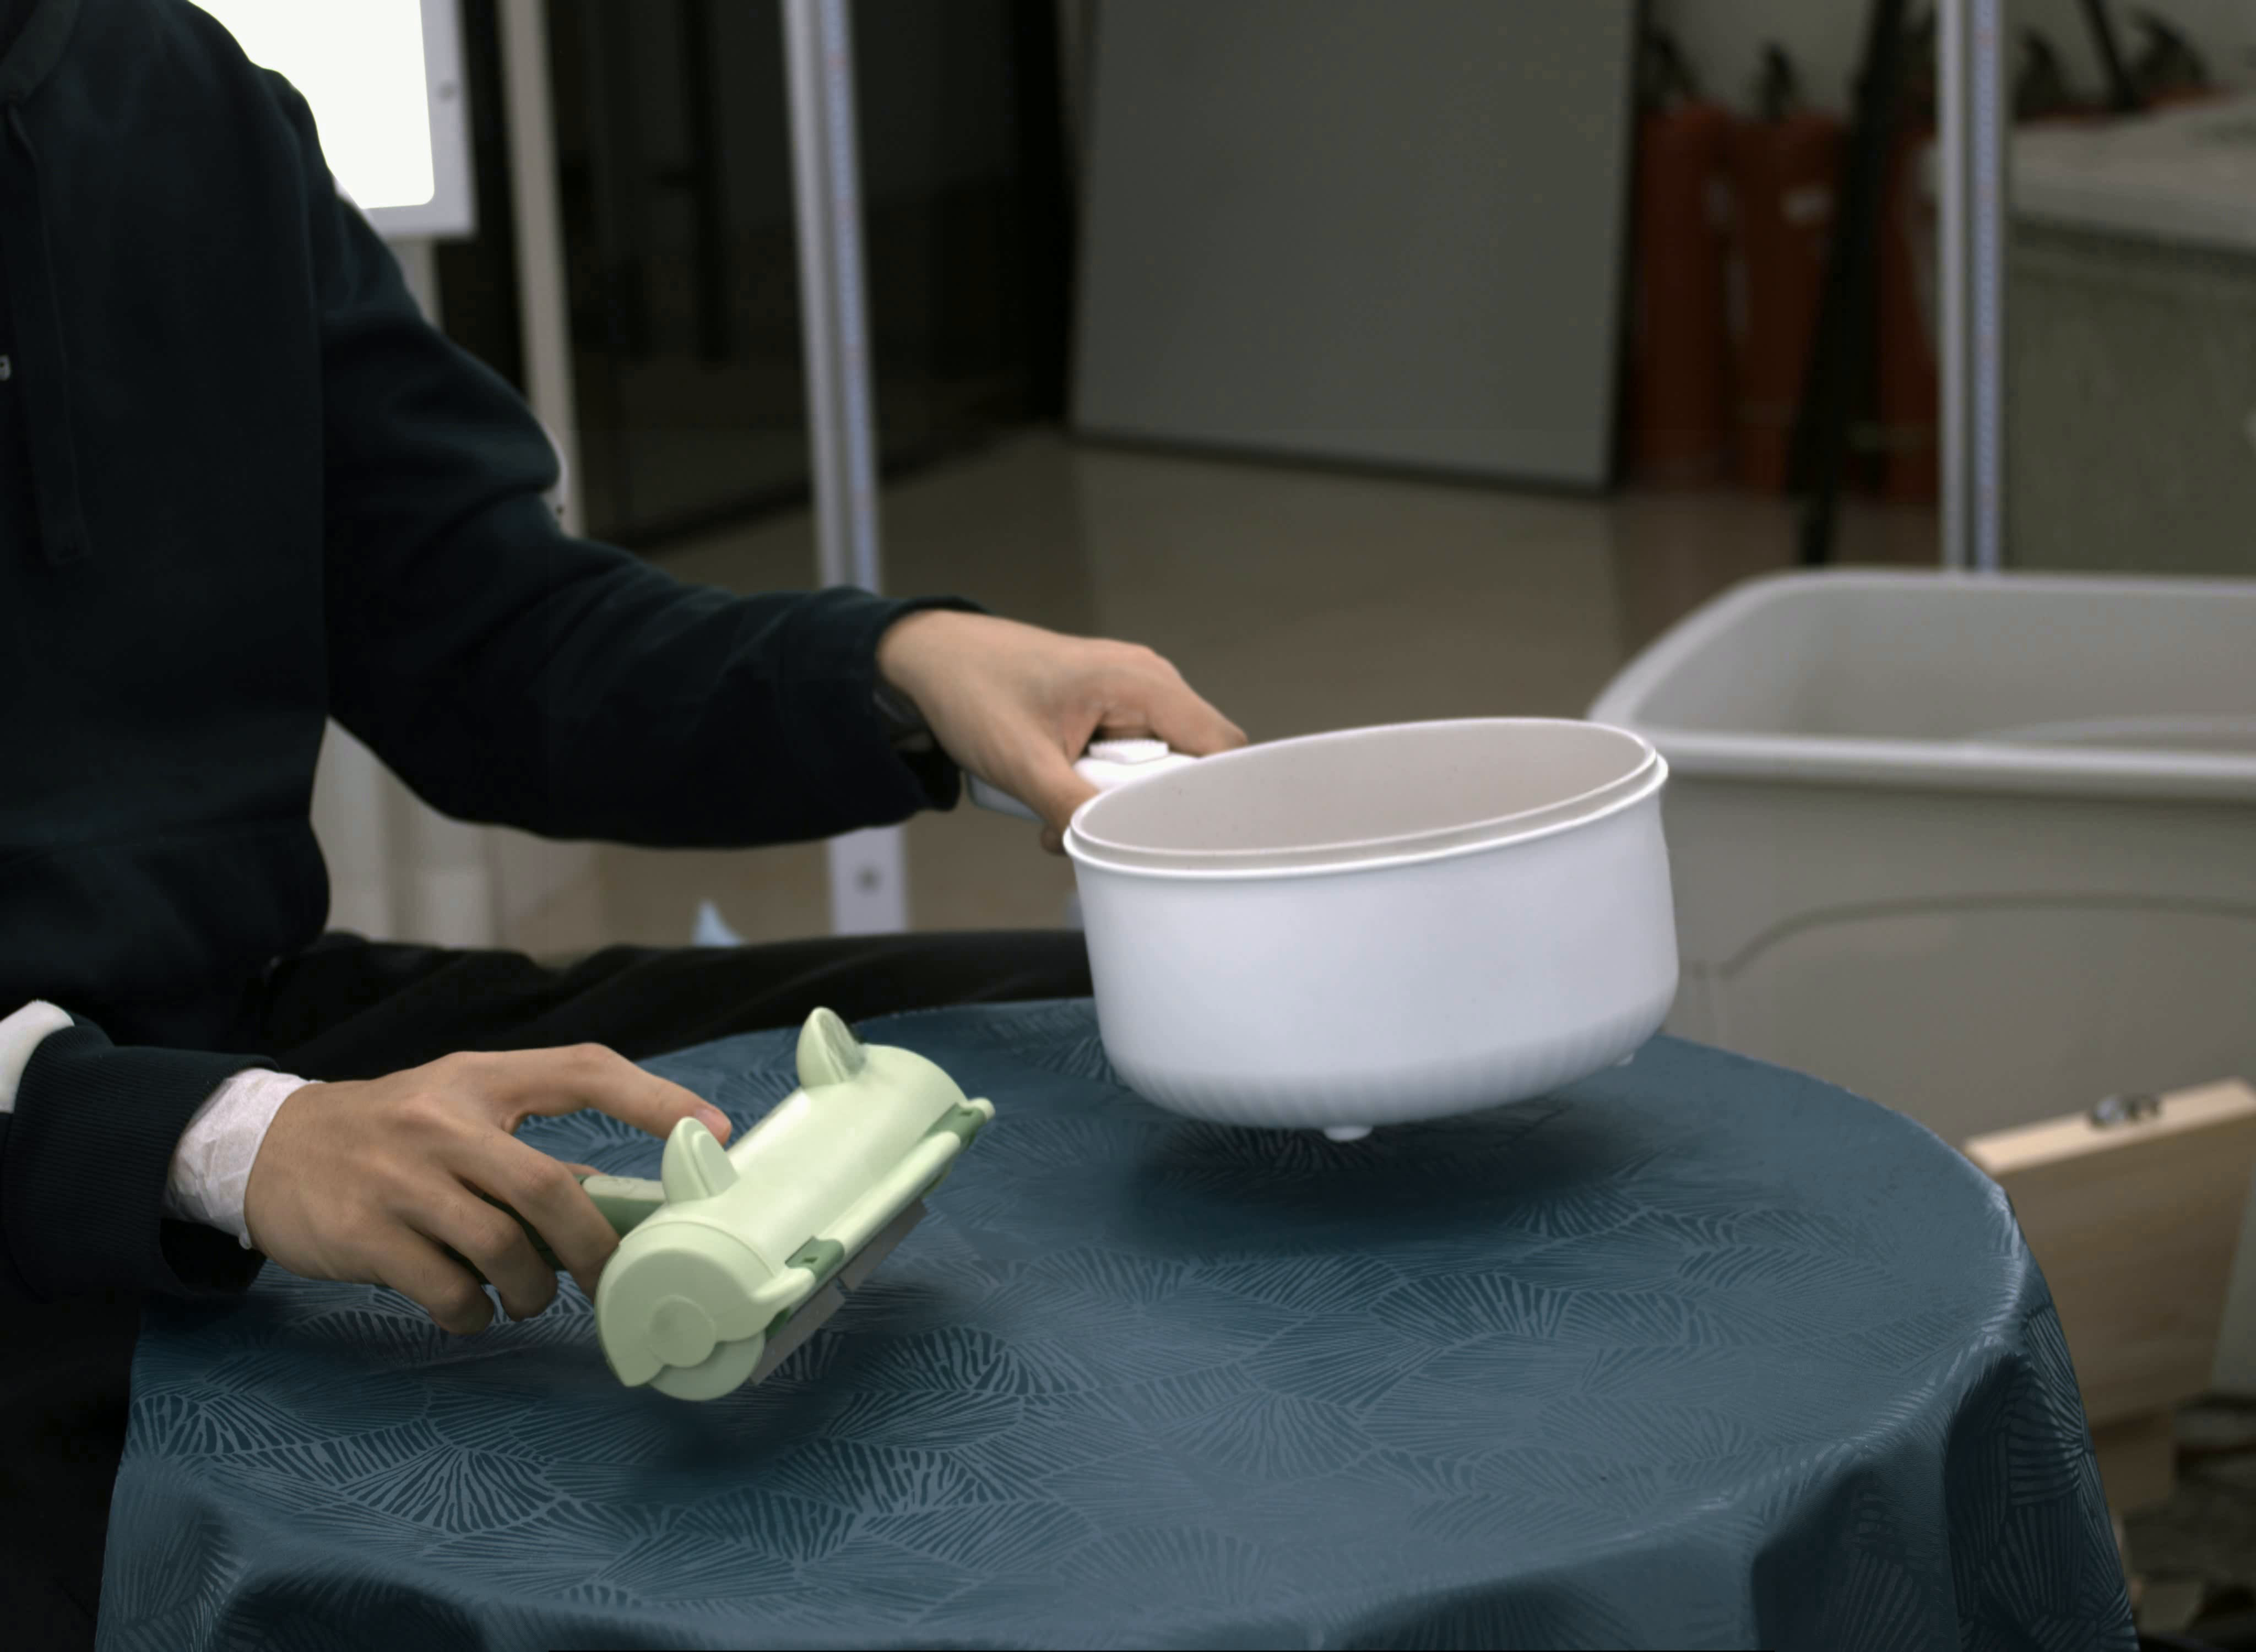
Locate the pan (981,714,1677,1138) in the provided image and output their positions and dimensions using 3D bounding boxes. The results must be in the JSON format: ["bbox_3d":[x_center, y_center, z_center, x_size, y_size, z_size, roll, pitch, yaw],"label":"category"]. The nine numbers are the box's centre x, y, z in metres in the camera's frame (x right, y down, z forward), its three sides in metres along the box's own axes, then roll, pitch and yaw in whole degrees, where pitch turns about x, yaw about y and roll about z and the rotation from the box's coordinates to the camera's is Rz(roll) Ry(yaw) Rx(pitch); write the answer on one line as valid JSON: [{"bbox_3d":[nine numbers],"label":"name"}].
[{"bbox_3d":[0.047,0.027,1.846,0.197,0.103,0.358,-14,11,-26],"label":"pan"}]

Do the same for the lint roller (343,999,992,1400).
[{"bbox_3d":[-0.153,0.104,1.630,0.183,0.083,0.197,4,15,17],"label":"lint roller"}]
